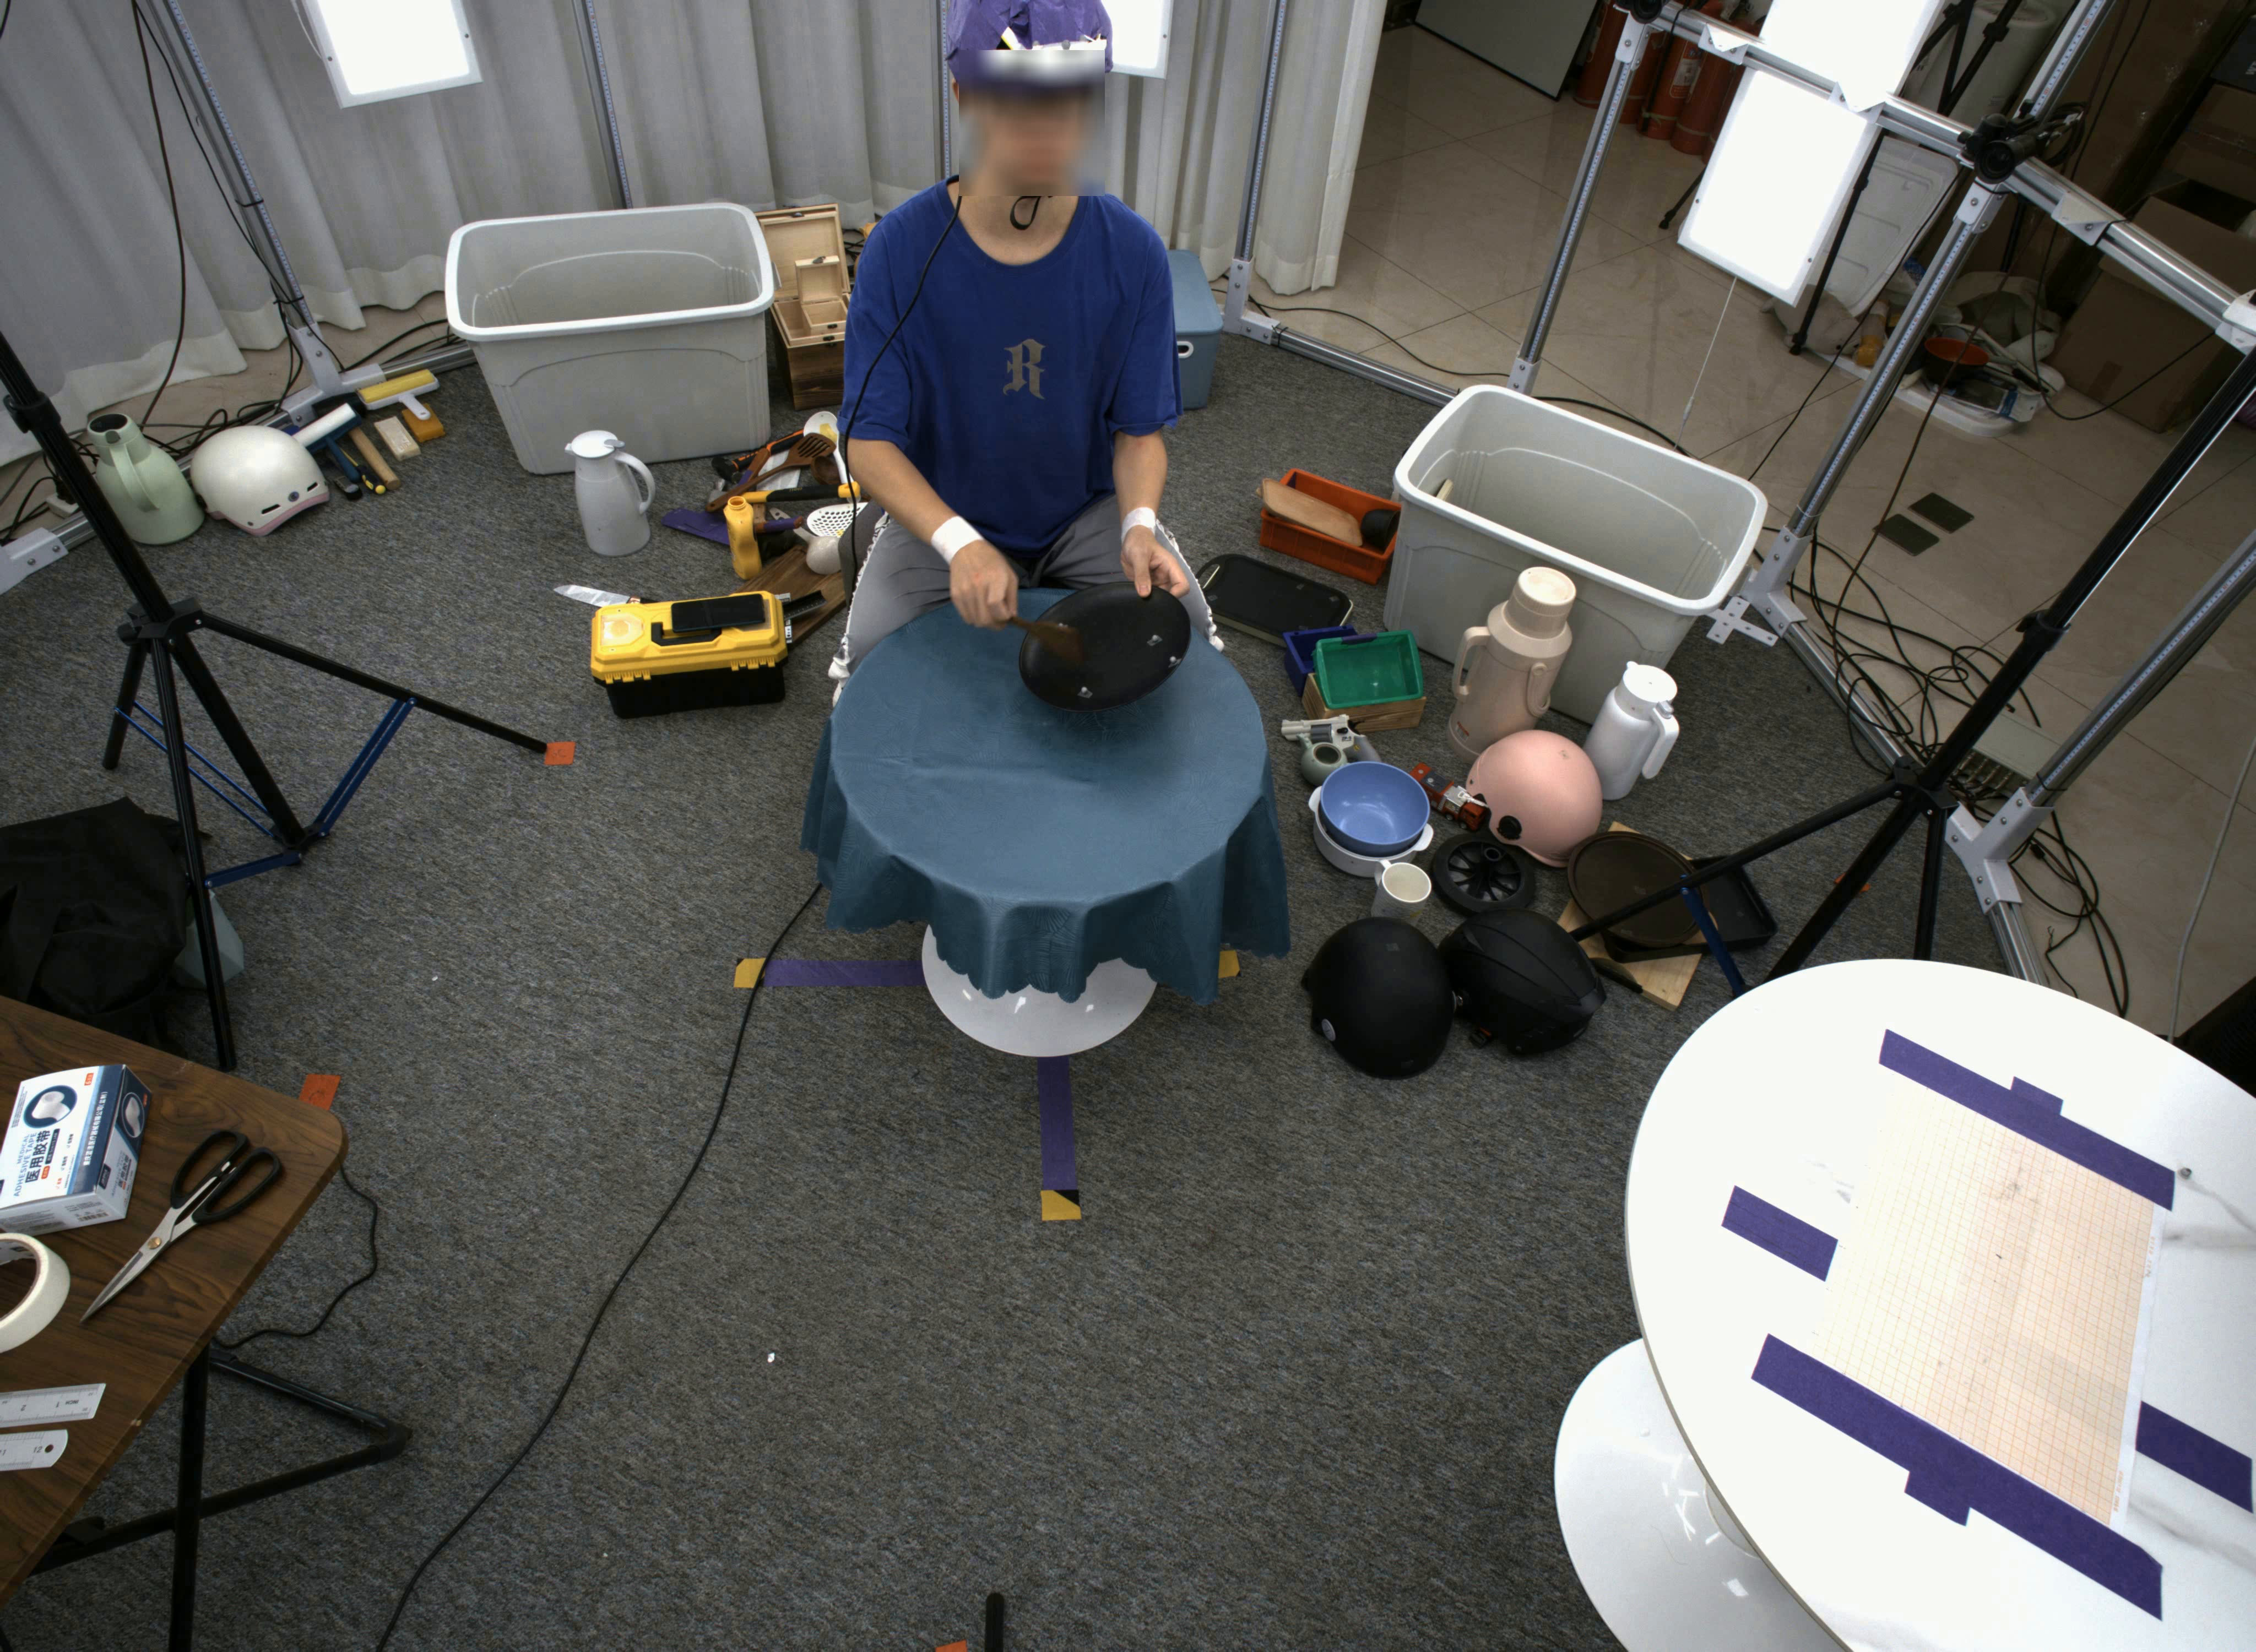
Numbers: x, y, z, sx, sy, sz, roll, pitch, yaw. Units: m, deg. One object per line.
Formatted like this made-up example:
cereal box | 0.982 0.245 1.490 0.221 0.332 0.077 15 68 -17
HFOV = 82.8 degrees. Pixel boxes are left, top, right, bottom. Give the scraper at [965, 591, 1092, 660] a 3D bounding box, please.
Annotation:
scraper | -0.141 -0.281 1.766 0.214 0.074 0.011 26 69 27

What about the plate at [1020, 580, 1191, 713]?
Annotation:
plate | -0.031 -0.245 1.769 0.244 0.023 0.250 -9 51 11
